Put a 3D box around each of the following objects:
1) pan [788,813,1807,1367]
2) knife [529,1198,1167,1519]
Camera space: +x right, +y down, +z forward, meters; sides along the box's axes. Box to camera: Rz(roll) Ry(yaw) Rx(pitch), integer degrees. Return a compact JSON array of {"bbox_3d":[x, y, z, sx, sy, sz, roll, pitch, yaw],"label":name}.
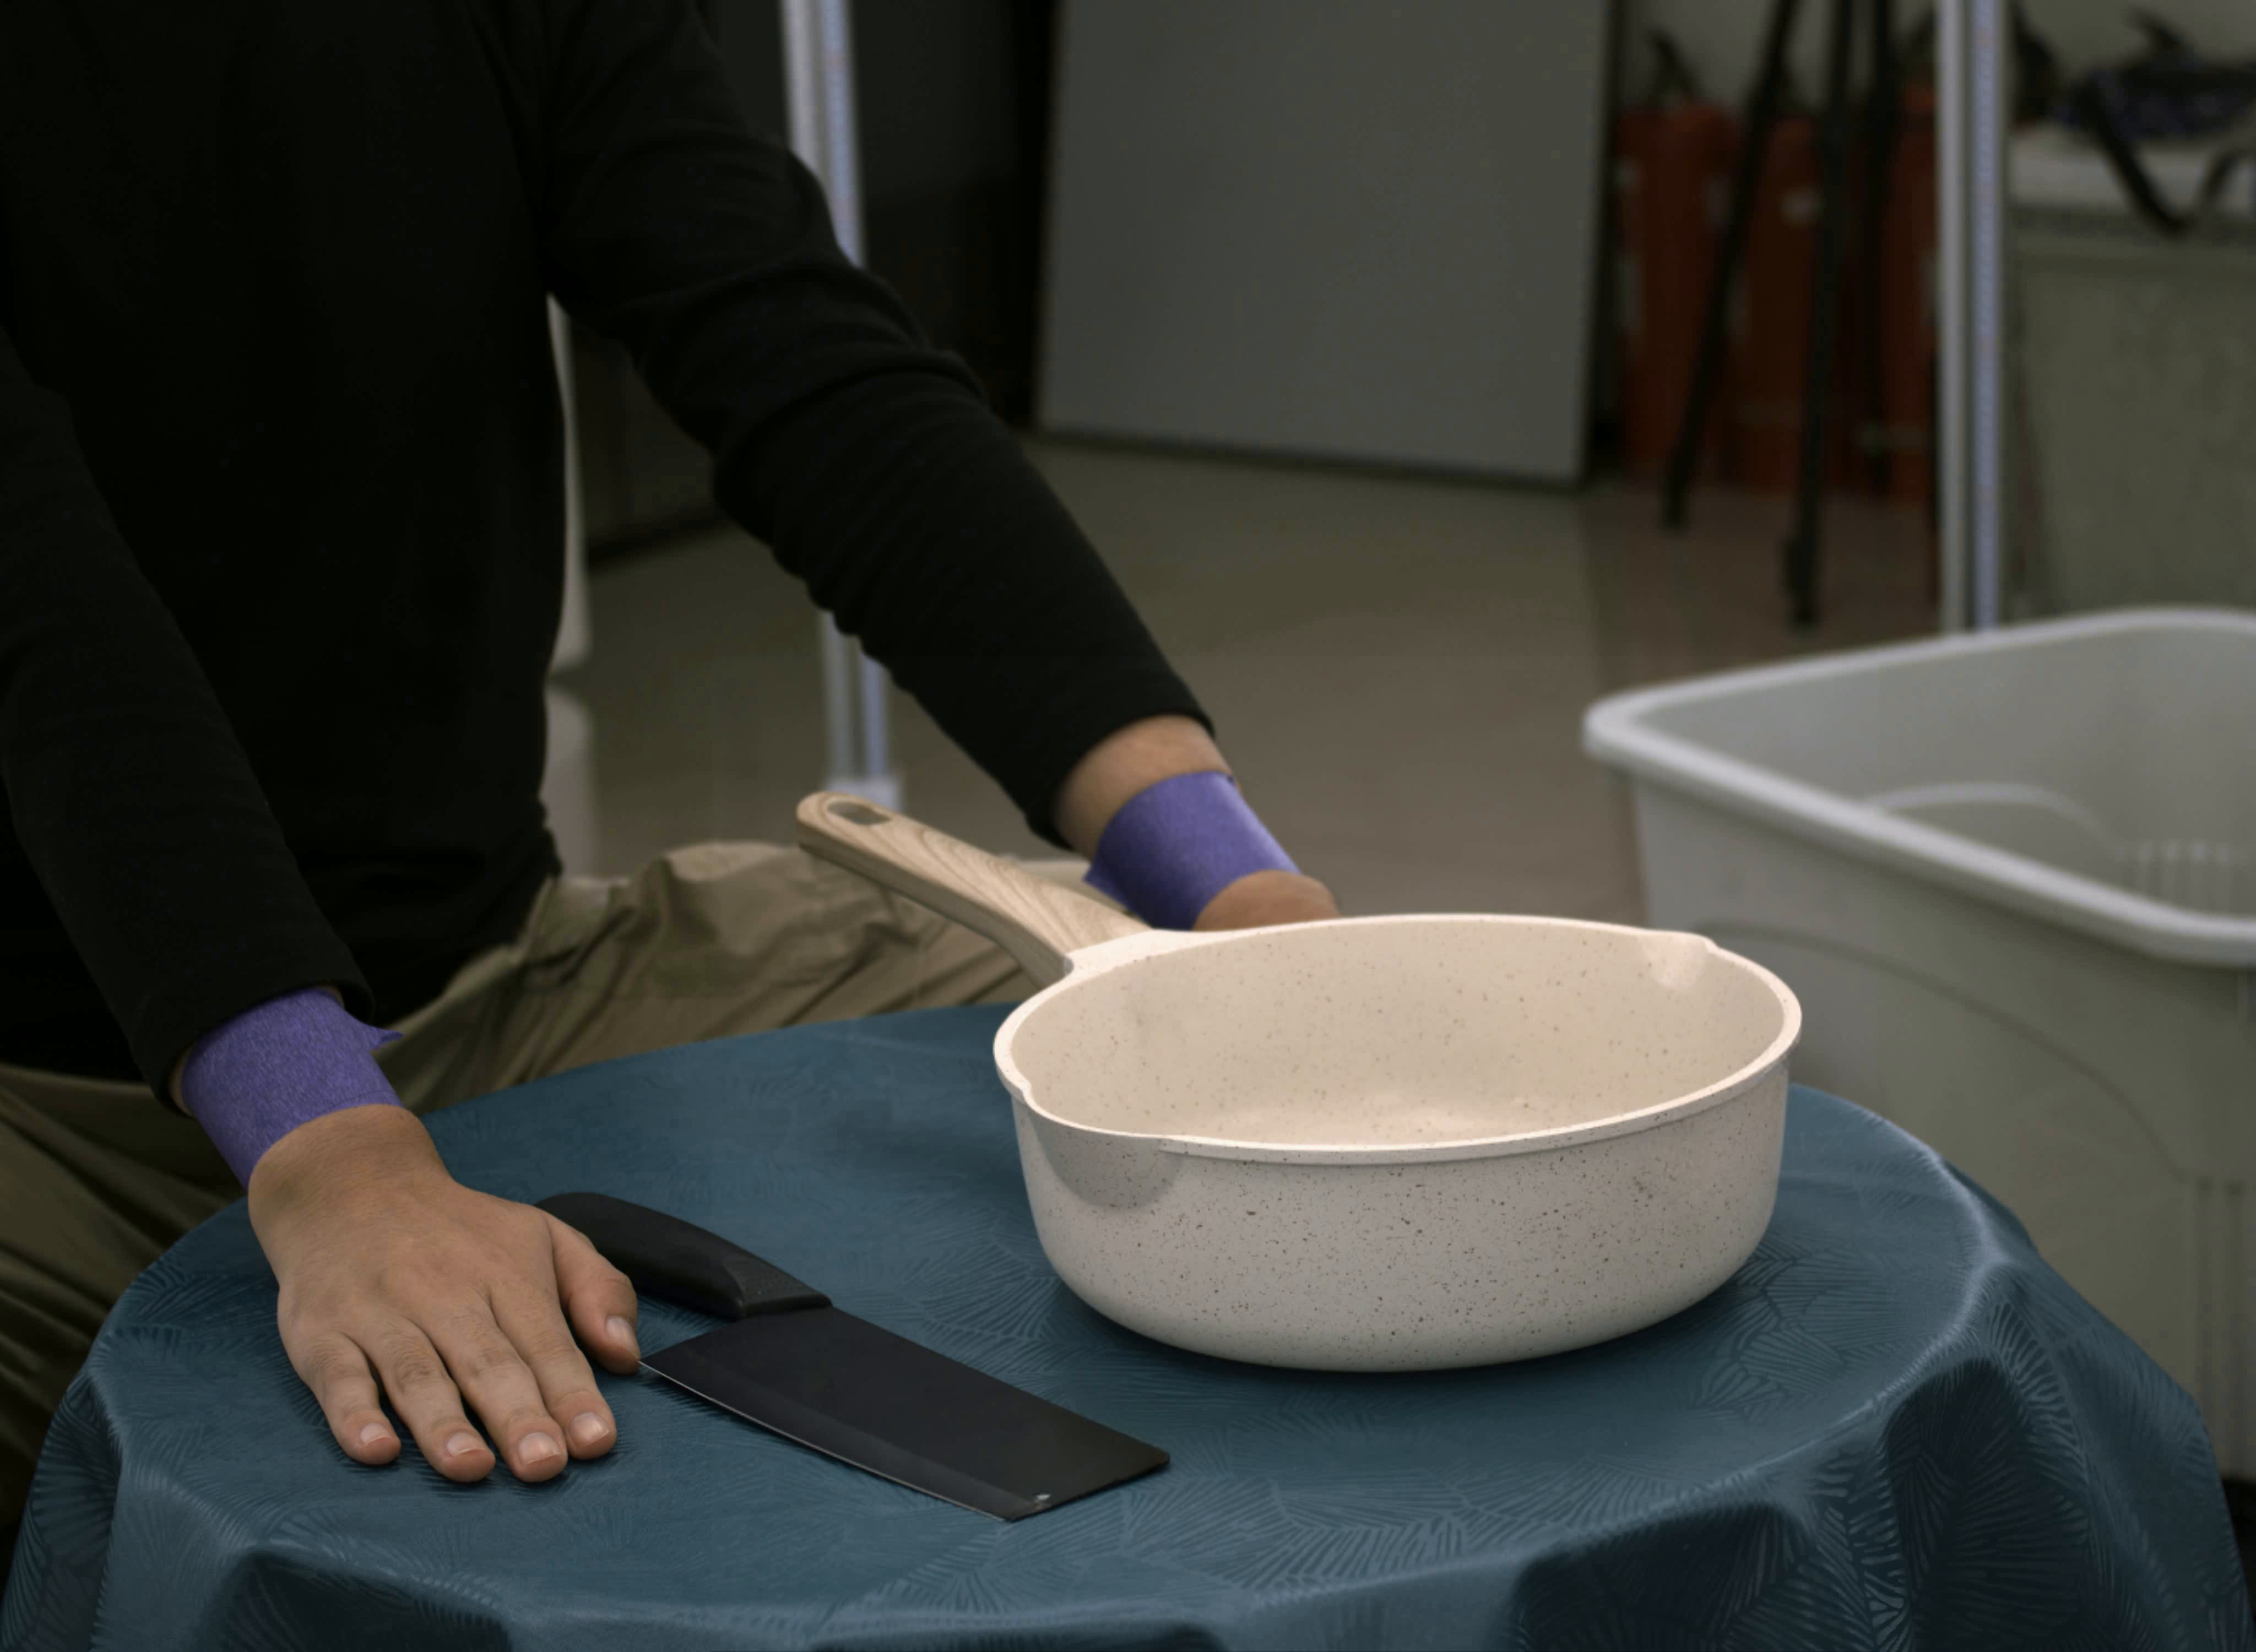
[{"bbox_3d":[0.030,0.076,1.741,0.258,0.103,0.439,-16,18,-36],"label":"pan"},{"bbox_3d":[-0.099,0.159,1.626,0.079,0.021,0.305,-14,19,-30],"label":"knife"}]
